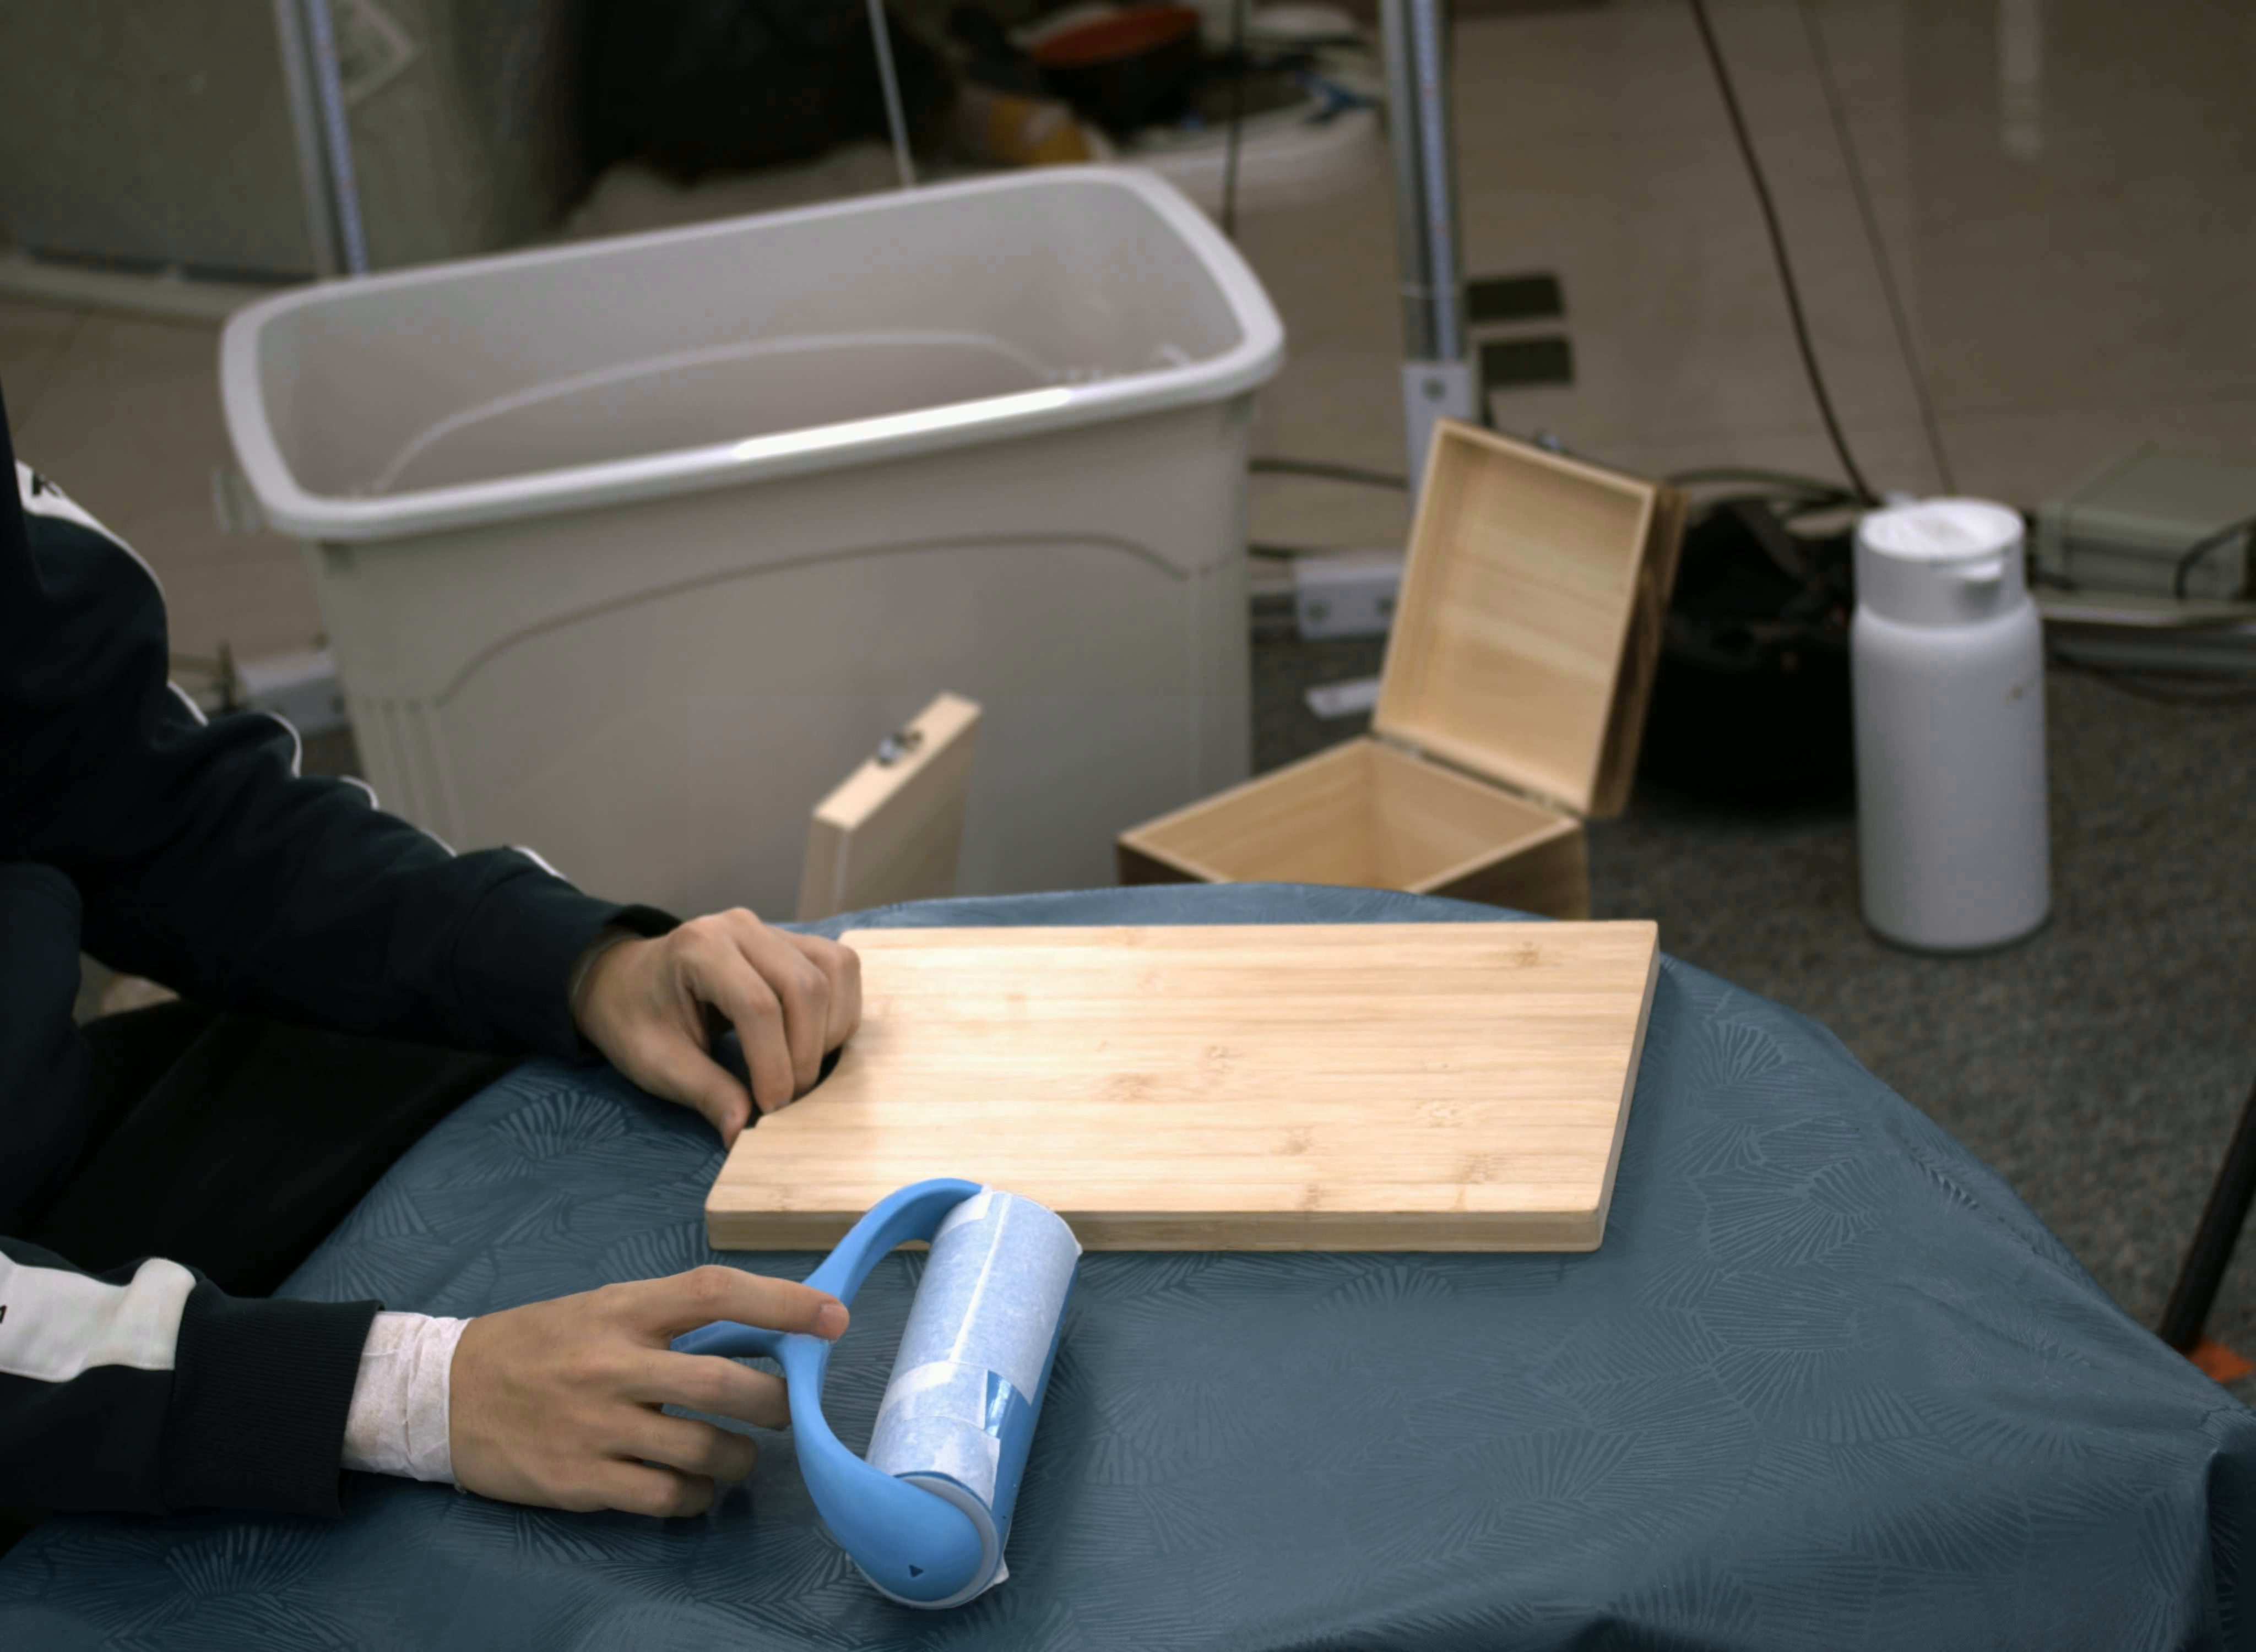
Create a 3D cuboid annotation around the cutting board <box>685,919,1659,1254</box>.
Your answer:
[{"bbox_3d":[0.023,0.100,2.204,0.348,0.024,0.247,-1,25,11],"label":"cutting board"}]

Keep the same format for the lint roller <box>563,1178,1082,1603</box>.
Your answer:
[{"bbox_3d":[-0.113,0.198,1.977,0.180,0.069,0.225,-3,26,6],"label":"lint roller"}]
